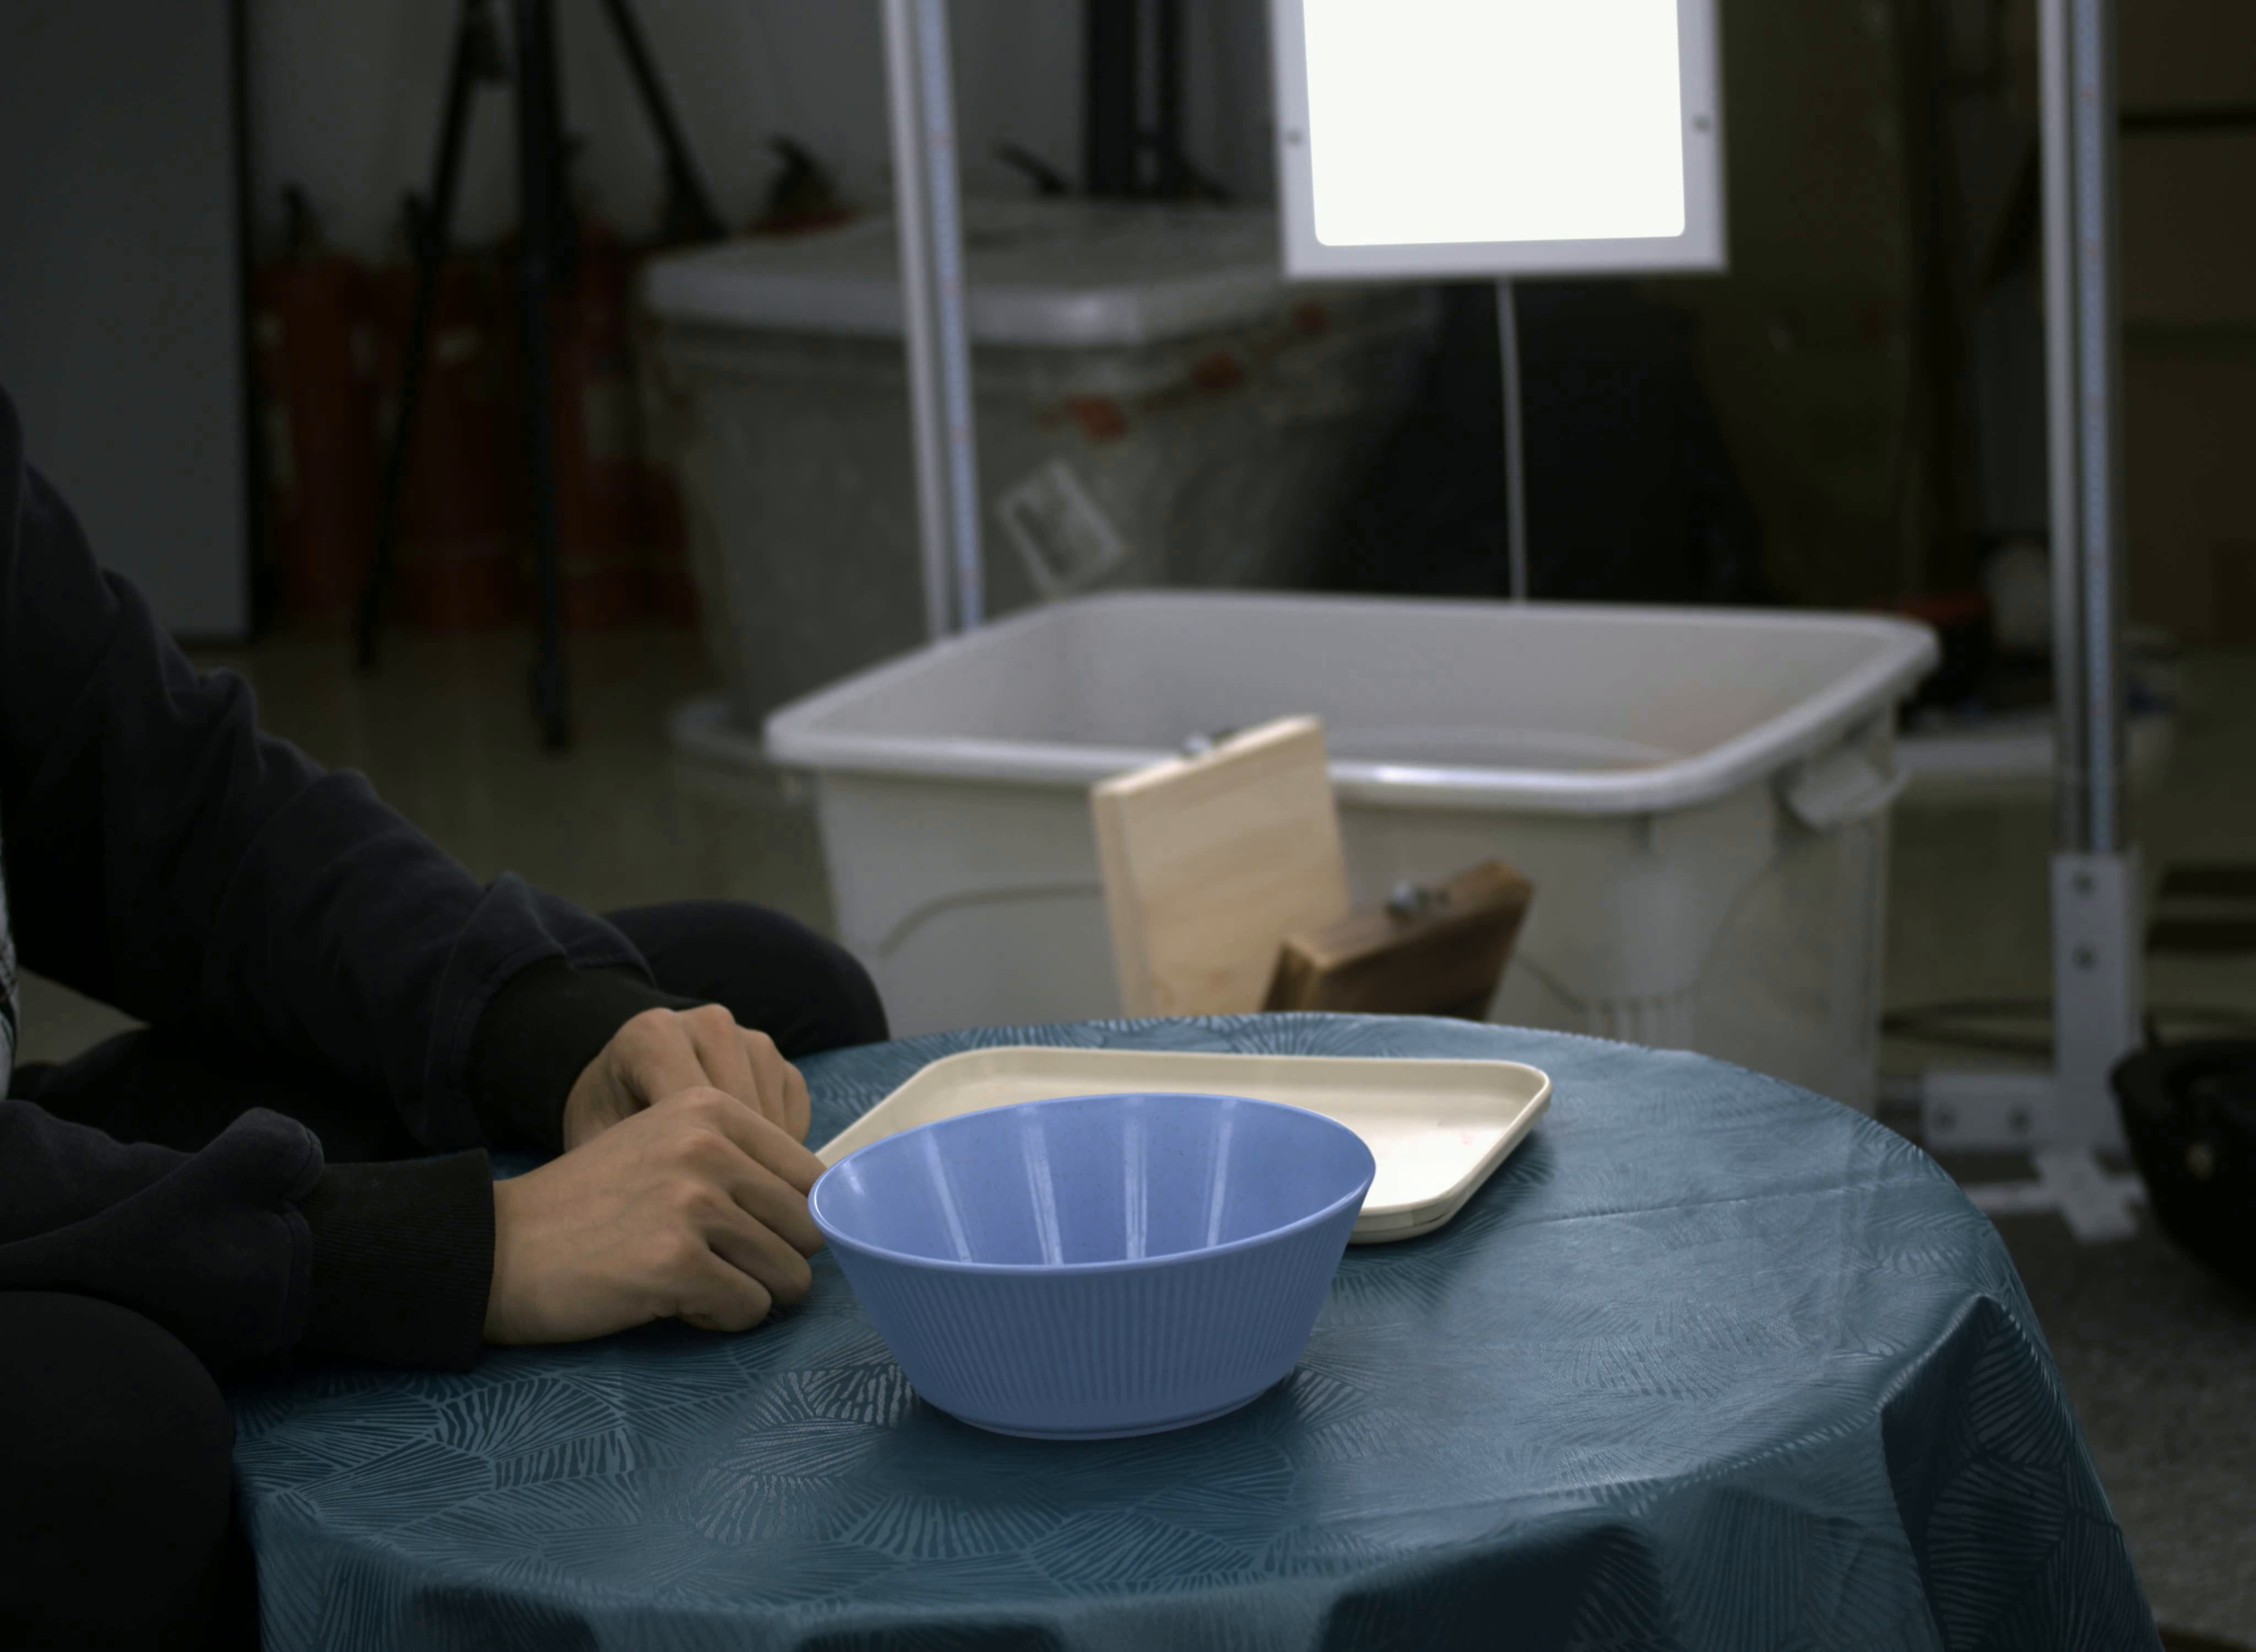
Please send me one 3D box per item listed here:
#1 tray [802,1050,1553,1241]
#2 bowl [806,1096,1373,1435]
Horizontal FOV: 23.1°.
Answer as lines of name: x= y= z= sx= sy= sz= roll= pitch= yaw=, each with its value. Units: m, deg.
tray: x=0.019 y=0.111 z=1.917 sx=0.243 sy=0.017 sz=0.168 roll=1 pitch=14 yaw=22
bowl: x=-0.010 y=0.138 z=1.703 sx=0.175 sy=0.070 sz=0.176 roll=-4 pitch=14 yaw=0
